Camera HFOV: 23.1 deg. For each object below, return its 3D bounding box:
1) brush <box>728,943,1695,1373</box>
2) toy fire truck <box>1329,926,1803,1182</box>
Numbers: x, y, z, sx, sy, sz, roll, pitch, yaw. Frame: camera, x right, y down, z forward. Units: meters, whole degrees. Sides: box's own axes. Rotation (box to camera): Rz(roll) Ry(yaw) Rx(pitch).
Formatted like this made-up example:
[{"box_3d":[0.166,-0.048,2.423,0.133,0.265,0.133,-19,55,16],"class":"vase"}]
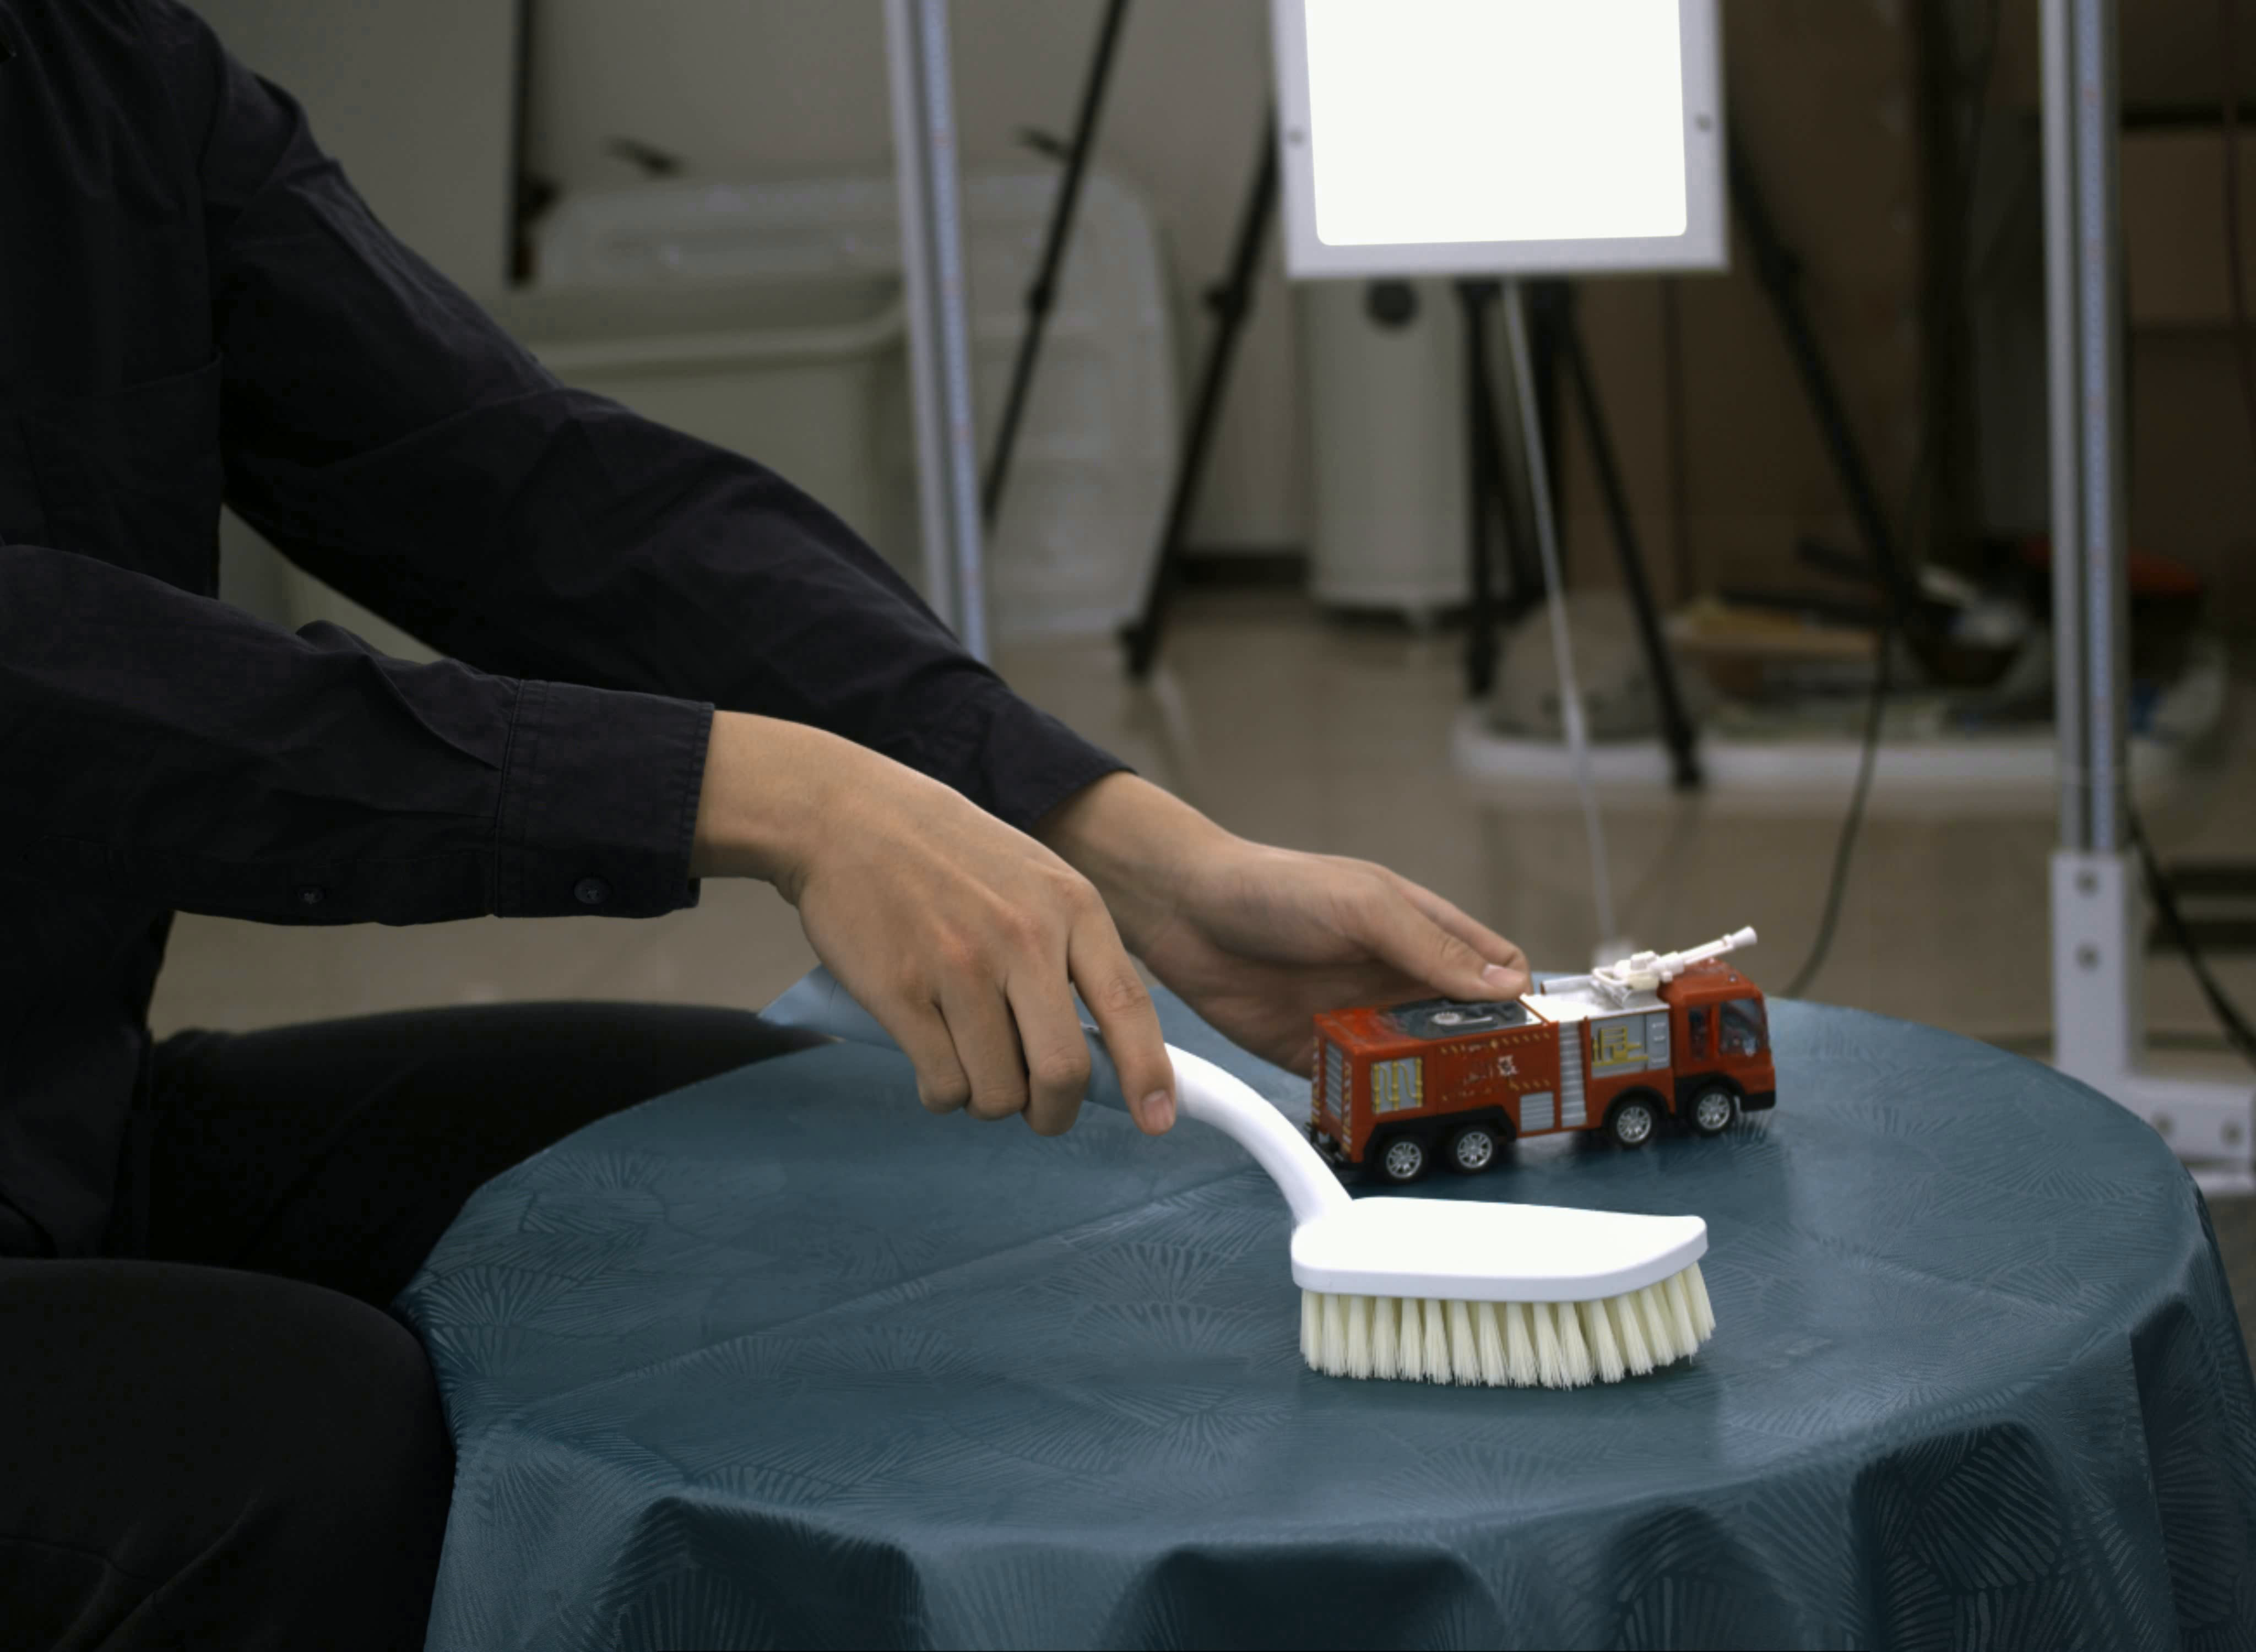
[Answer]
[{"box_3d":[0.022,0.118,1.739,0.329,0.084,0.082,14,-17,18],"class":"brush"},{"box_3d":[0.154,0.080,1.900,0.165,0.070,0.054,-9,18,-14],"class":"toy fire truck"}]
